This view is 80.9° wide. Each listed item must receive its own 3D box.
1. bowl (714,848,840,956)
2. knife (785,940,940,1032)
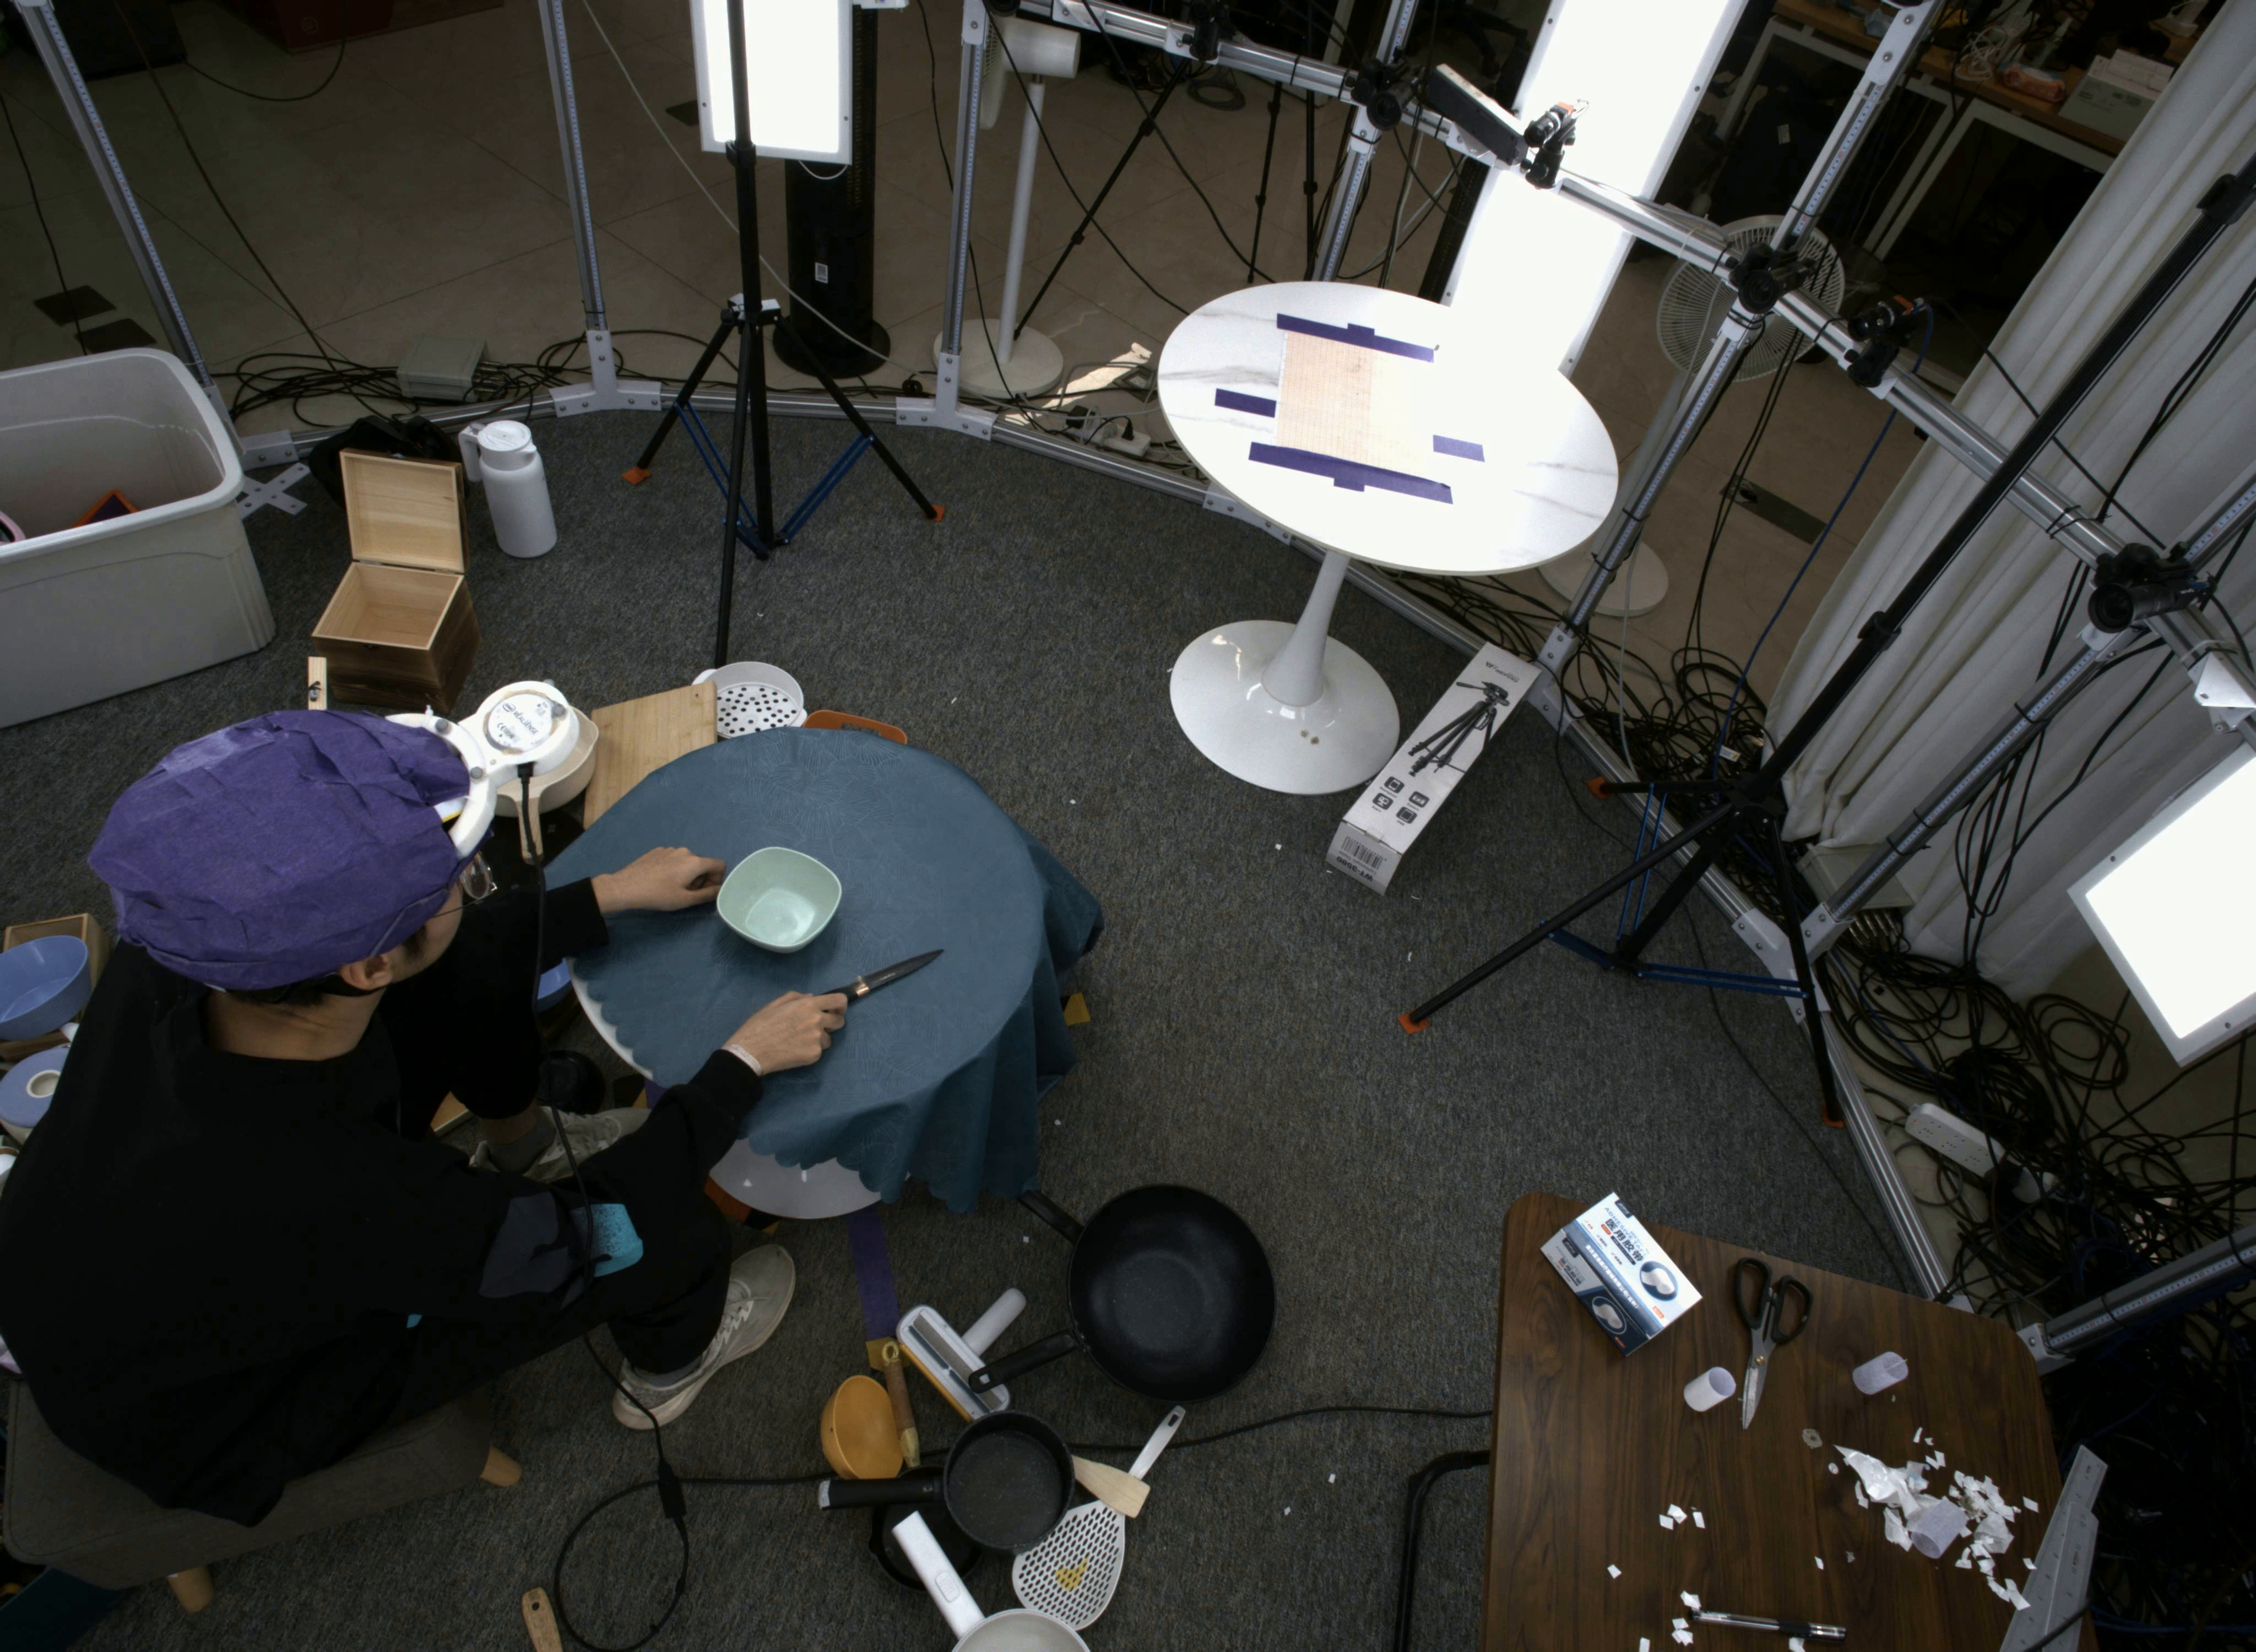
[{"bbox_3d":[-0.432,0.102,1.599,0.151,0.060,0.149,9,52,-10],"label":"bowl"},{"bbox_3d":[-0.321,0.191,1.591,0.226,0.018,0.025,-27,57,-32],"label":"knife"}]
